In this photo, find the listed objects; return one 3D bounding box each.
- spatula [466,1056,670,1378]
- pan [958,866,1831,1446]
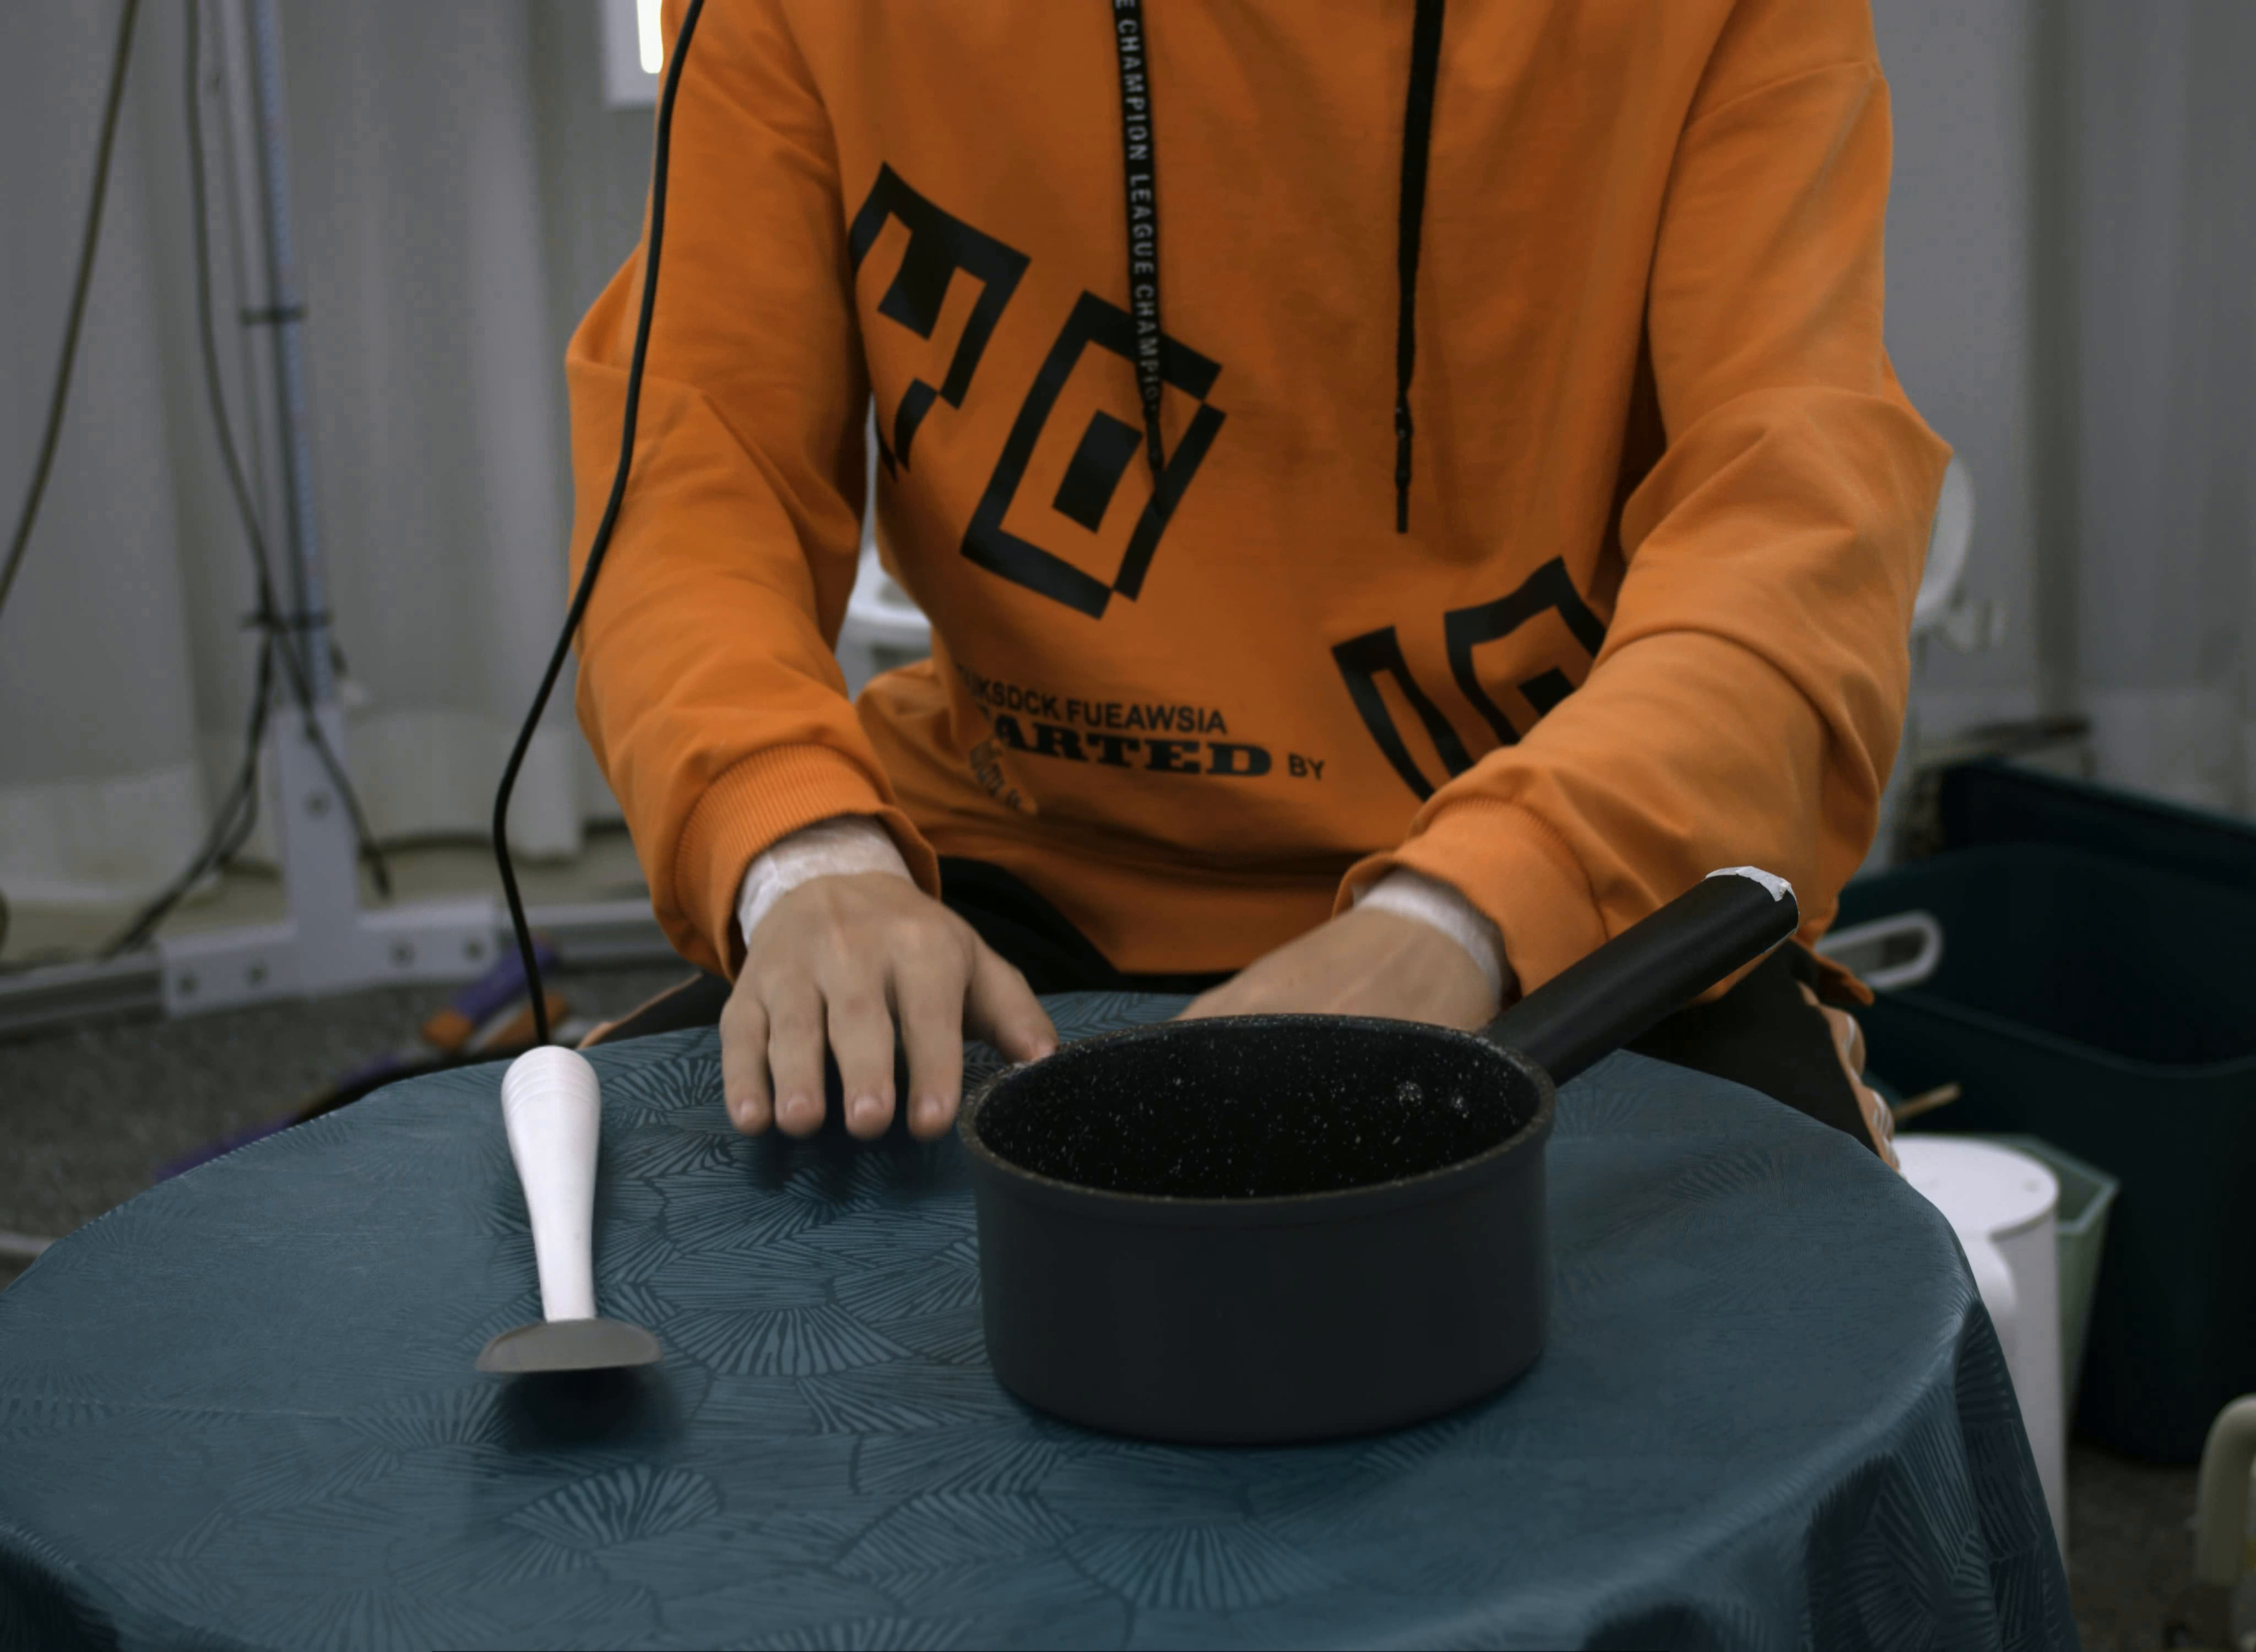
[{"bbox_3d":[-0.171,0.125,1.650,0.058,0.032,0.289,4,13,-8],"label":"spatula"},{"bbox_3d":[0.094,0.093,1.614,0.173,0.086,0.328,13,23,44],"label":"pan"}]
